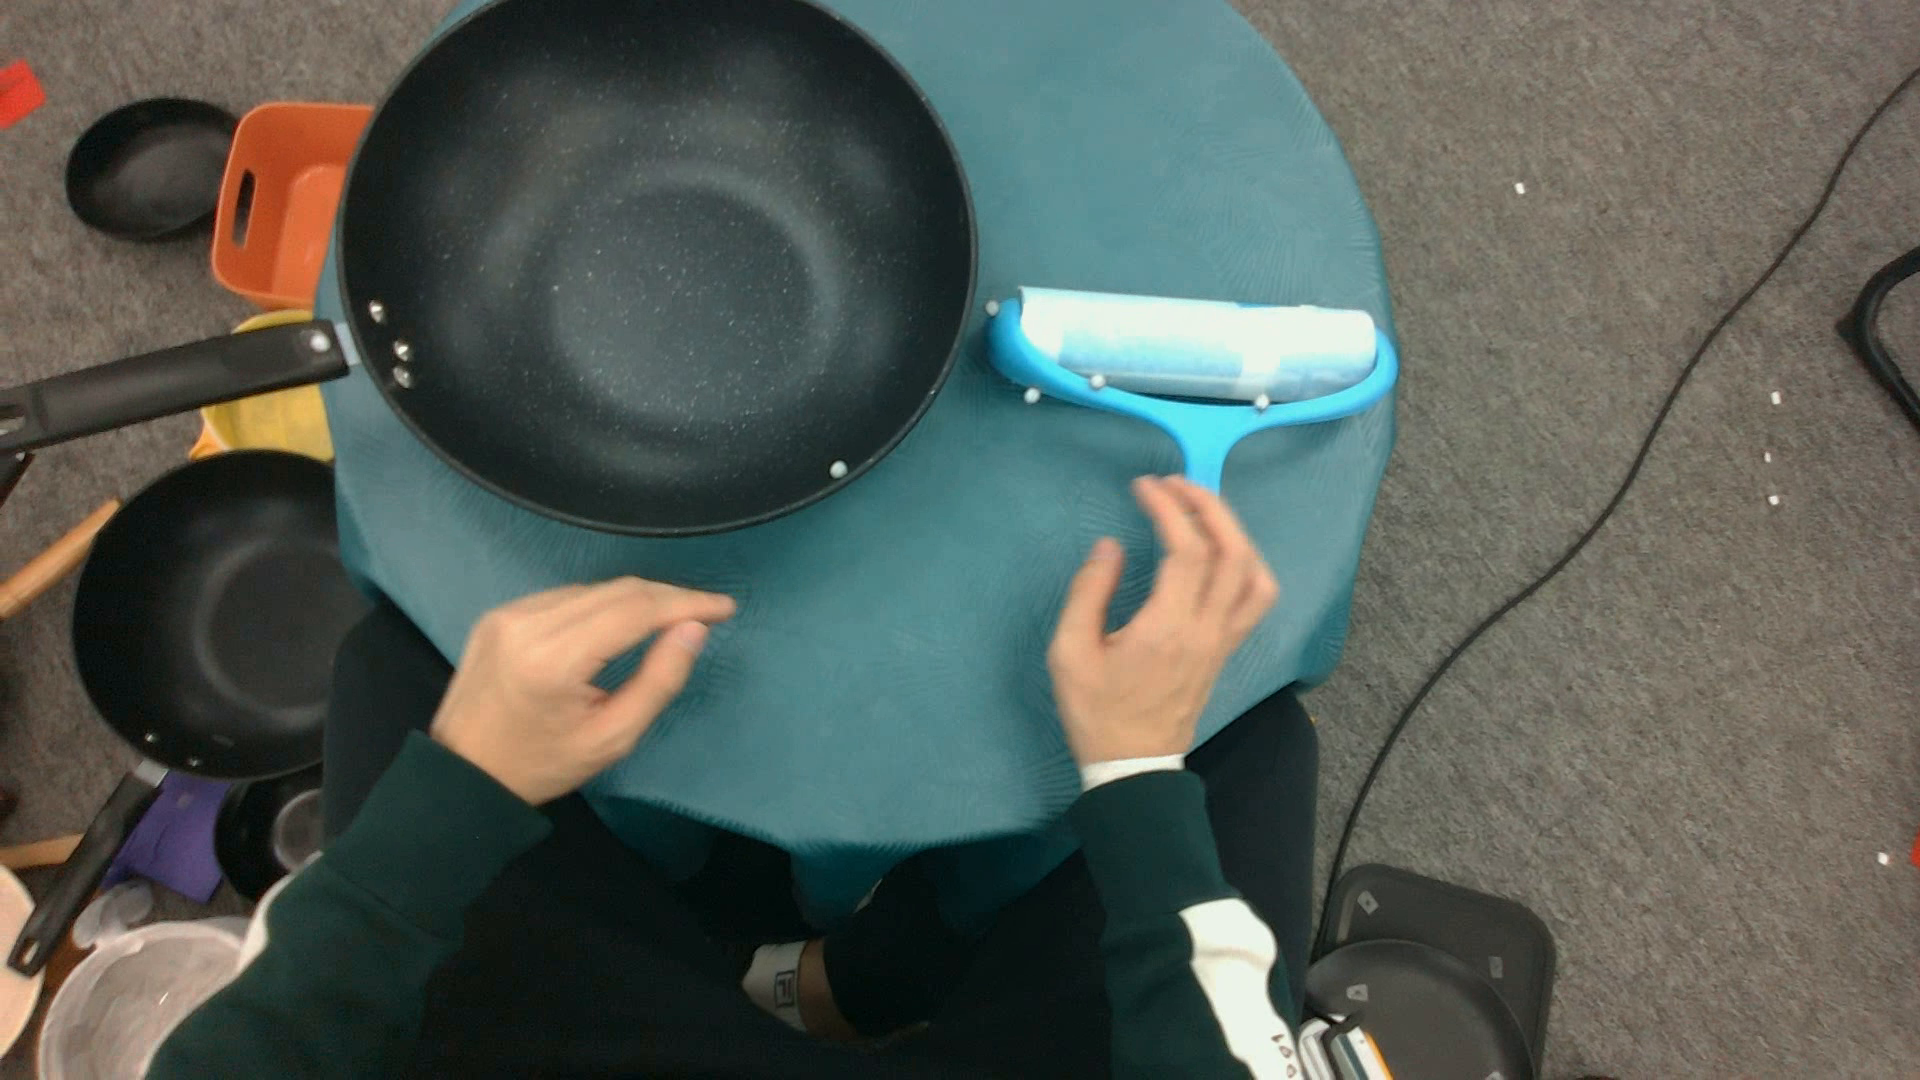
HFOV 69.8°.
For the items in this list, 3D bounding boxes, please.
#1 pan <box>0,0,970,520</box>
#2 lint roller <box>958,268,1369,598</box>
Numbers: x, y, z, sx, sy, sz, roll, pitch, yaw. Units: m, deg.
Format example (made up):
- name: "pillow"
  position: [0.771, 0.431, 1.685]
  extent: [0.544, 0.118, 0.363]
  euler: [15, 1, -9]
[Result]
- name: "pan"
  position: [-0.227, -0.120, 0.688]
  extent: [0.478, 0.111, 0.310]
  euler: [-23, 78, -12]
- name: "lint roller"
  position: [0.117, -0.063, 0.744]
  extent: [0.229, 0.067, 0.180]
  euler: [-1, 75, -10]
